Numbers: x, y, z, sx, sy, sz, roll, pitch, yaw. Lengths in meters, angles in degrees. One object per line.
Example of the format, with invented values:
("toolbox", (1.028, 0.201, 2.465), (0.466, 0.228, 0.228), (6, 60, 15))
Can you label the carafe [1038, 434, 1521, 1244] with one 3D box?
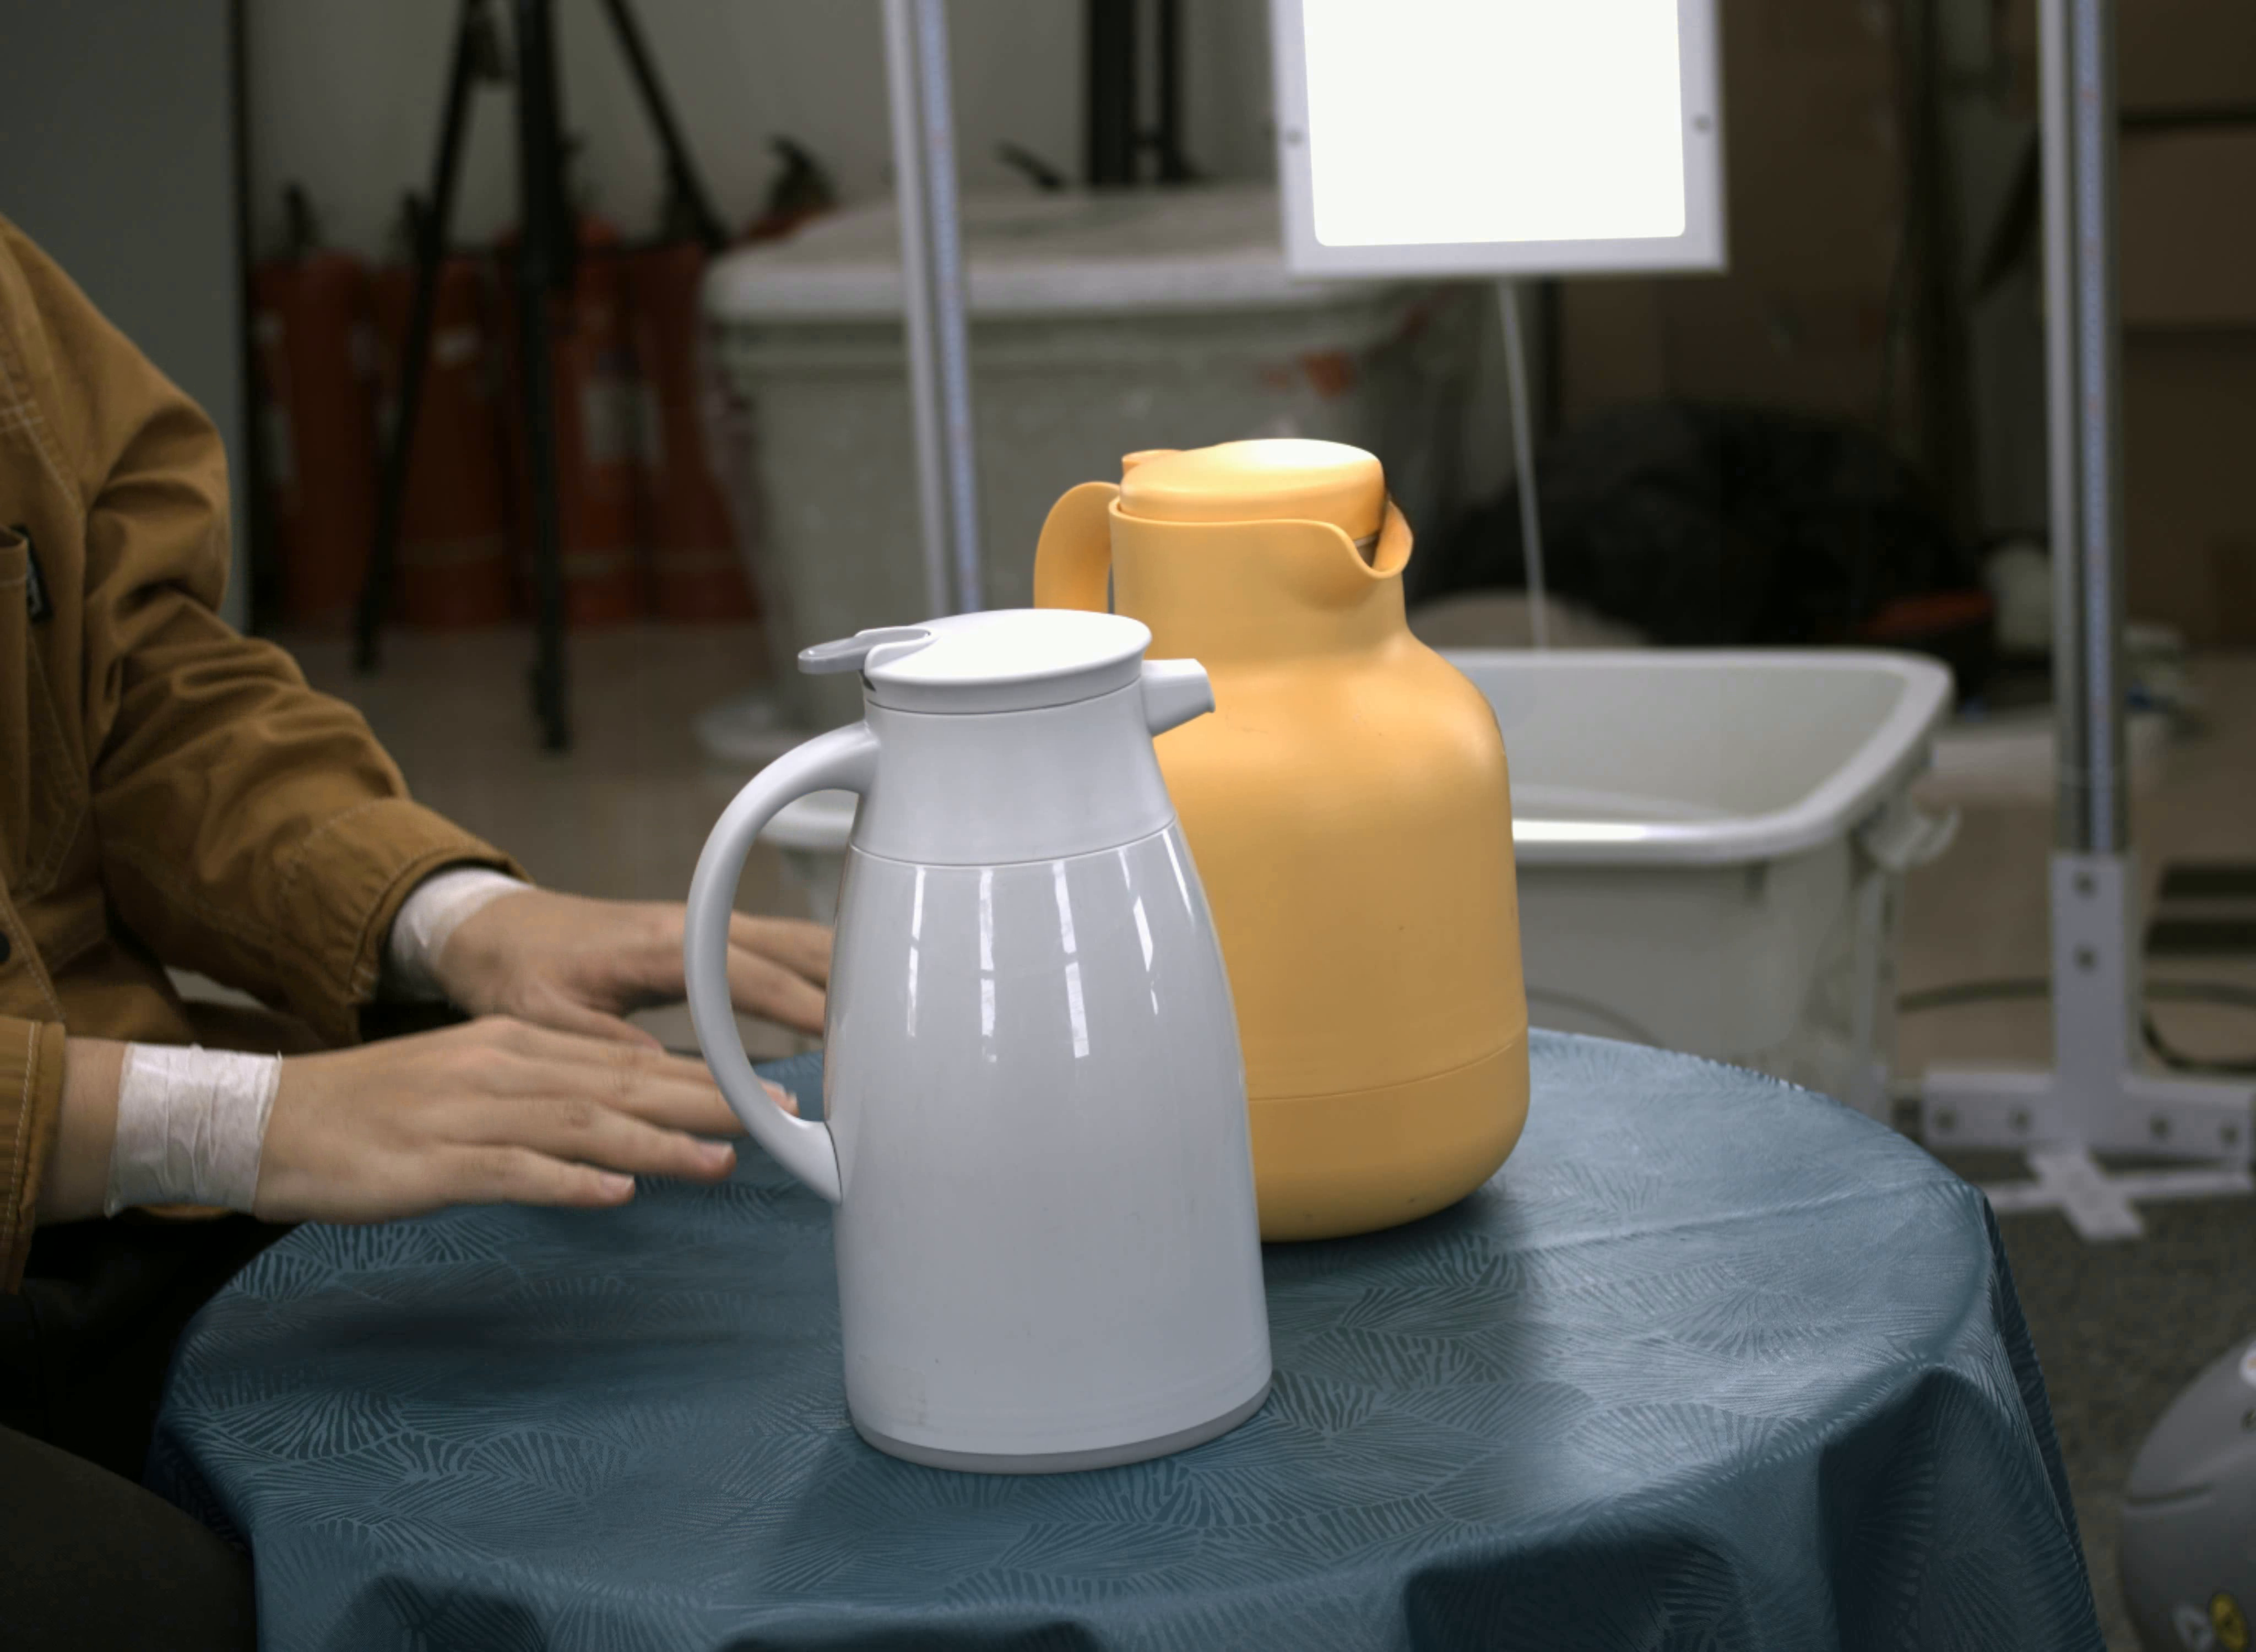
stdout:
("carafe", (0.039, -0.003, 1.866), (0.160, 0.261, 0.206), (-11, 16, -30))

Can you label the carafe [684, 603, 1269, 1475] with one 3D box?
("carafe", (-0.048, 0.060, 1.666), (0.166, 0.249, 0.133), (-7, 14, -9))
